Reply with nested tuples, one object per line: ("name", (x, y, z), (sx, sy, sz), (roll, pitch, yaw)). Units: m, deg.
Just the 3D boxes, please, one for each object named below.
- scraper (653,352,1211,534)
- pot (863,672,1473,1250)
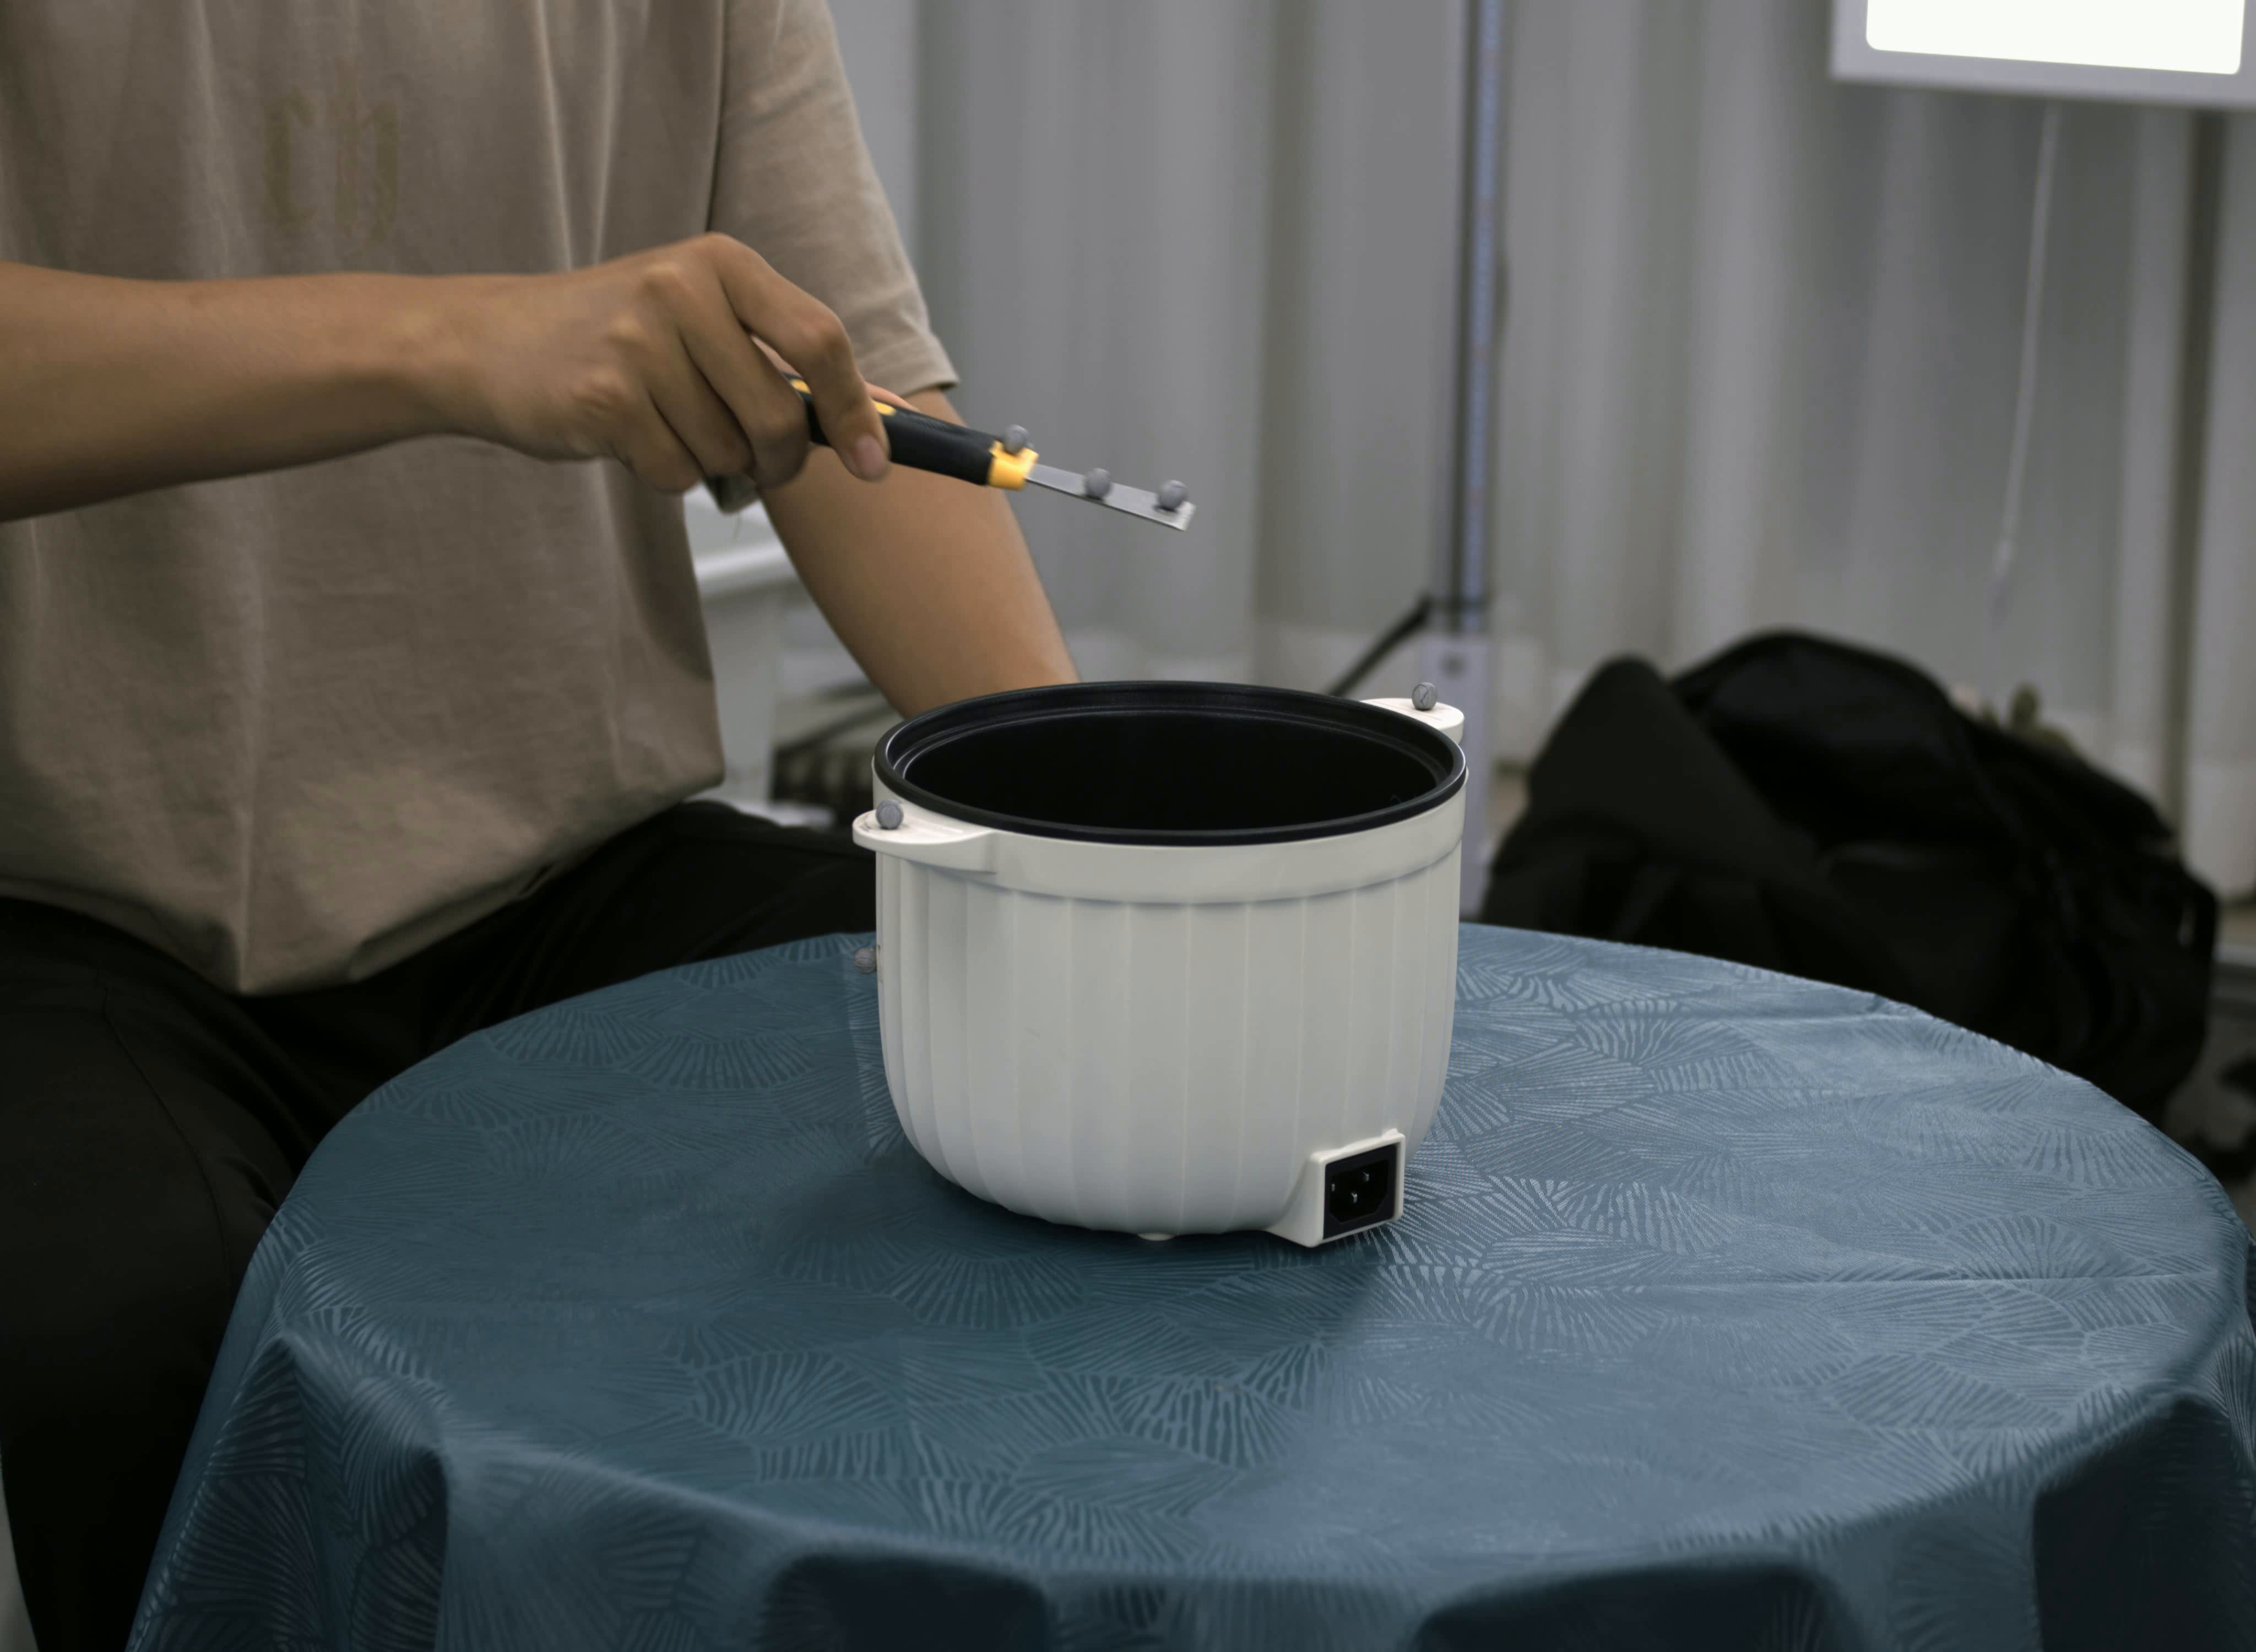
("scraper", (-0.059, -0.114, 1.575), (0.170, 0.015, 0.038), (15, 24, -1))
("pot", (0.008, 0.040, 1.624), (0.241, 0.144, 0.188), (-13, 25, -42))
